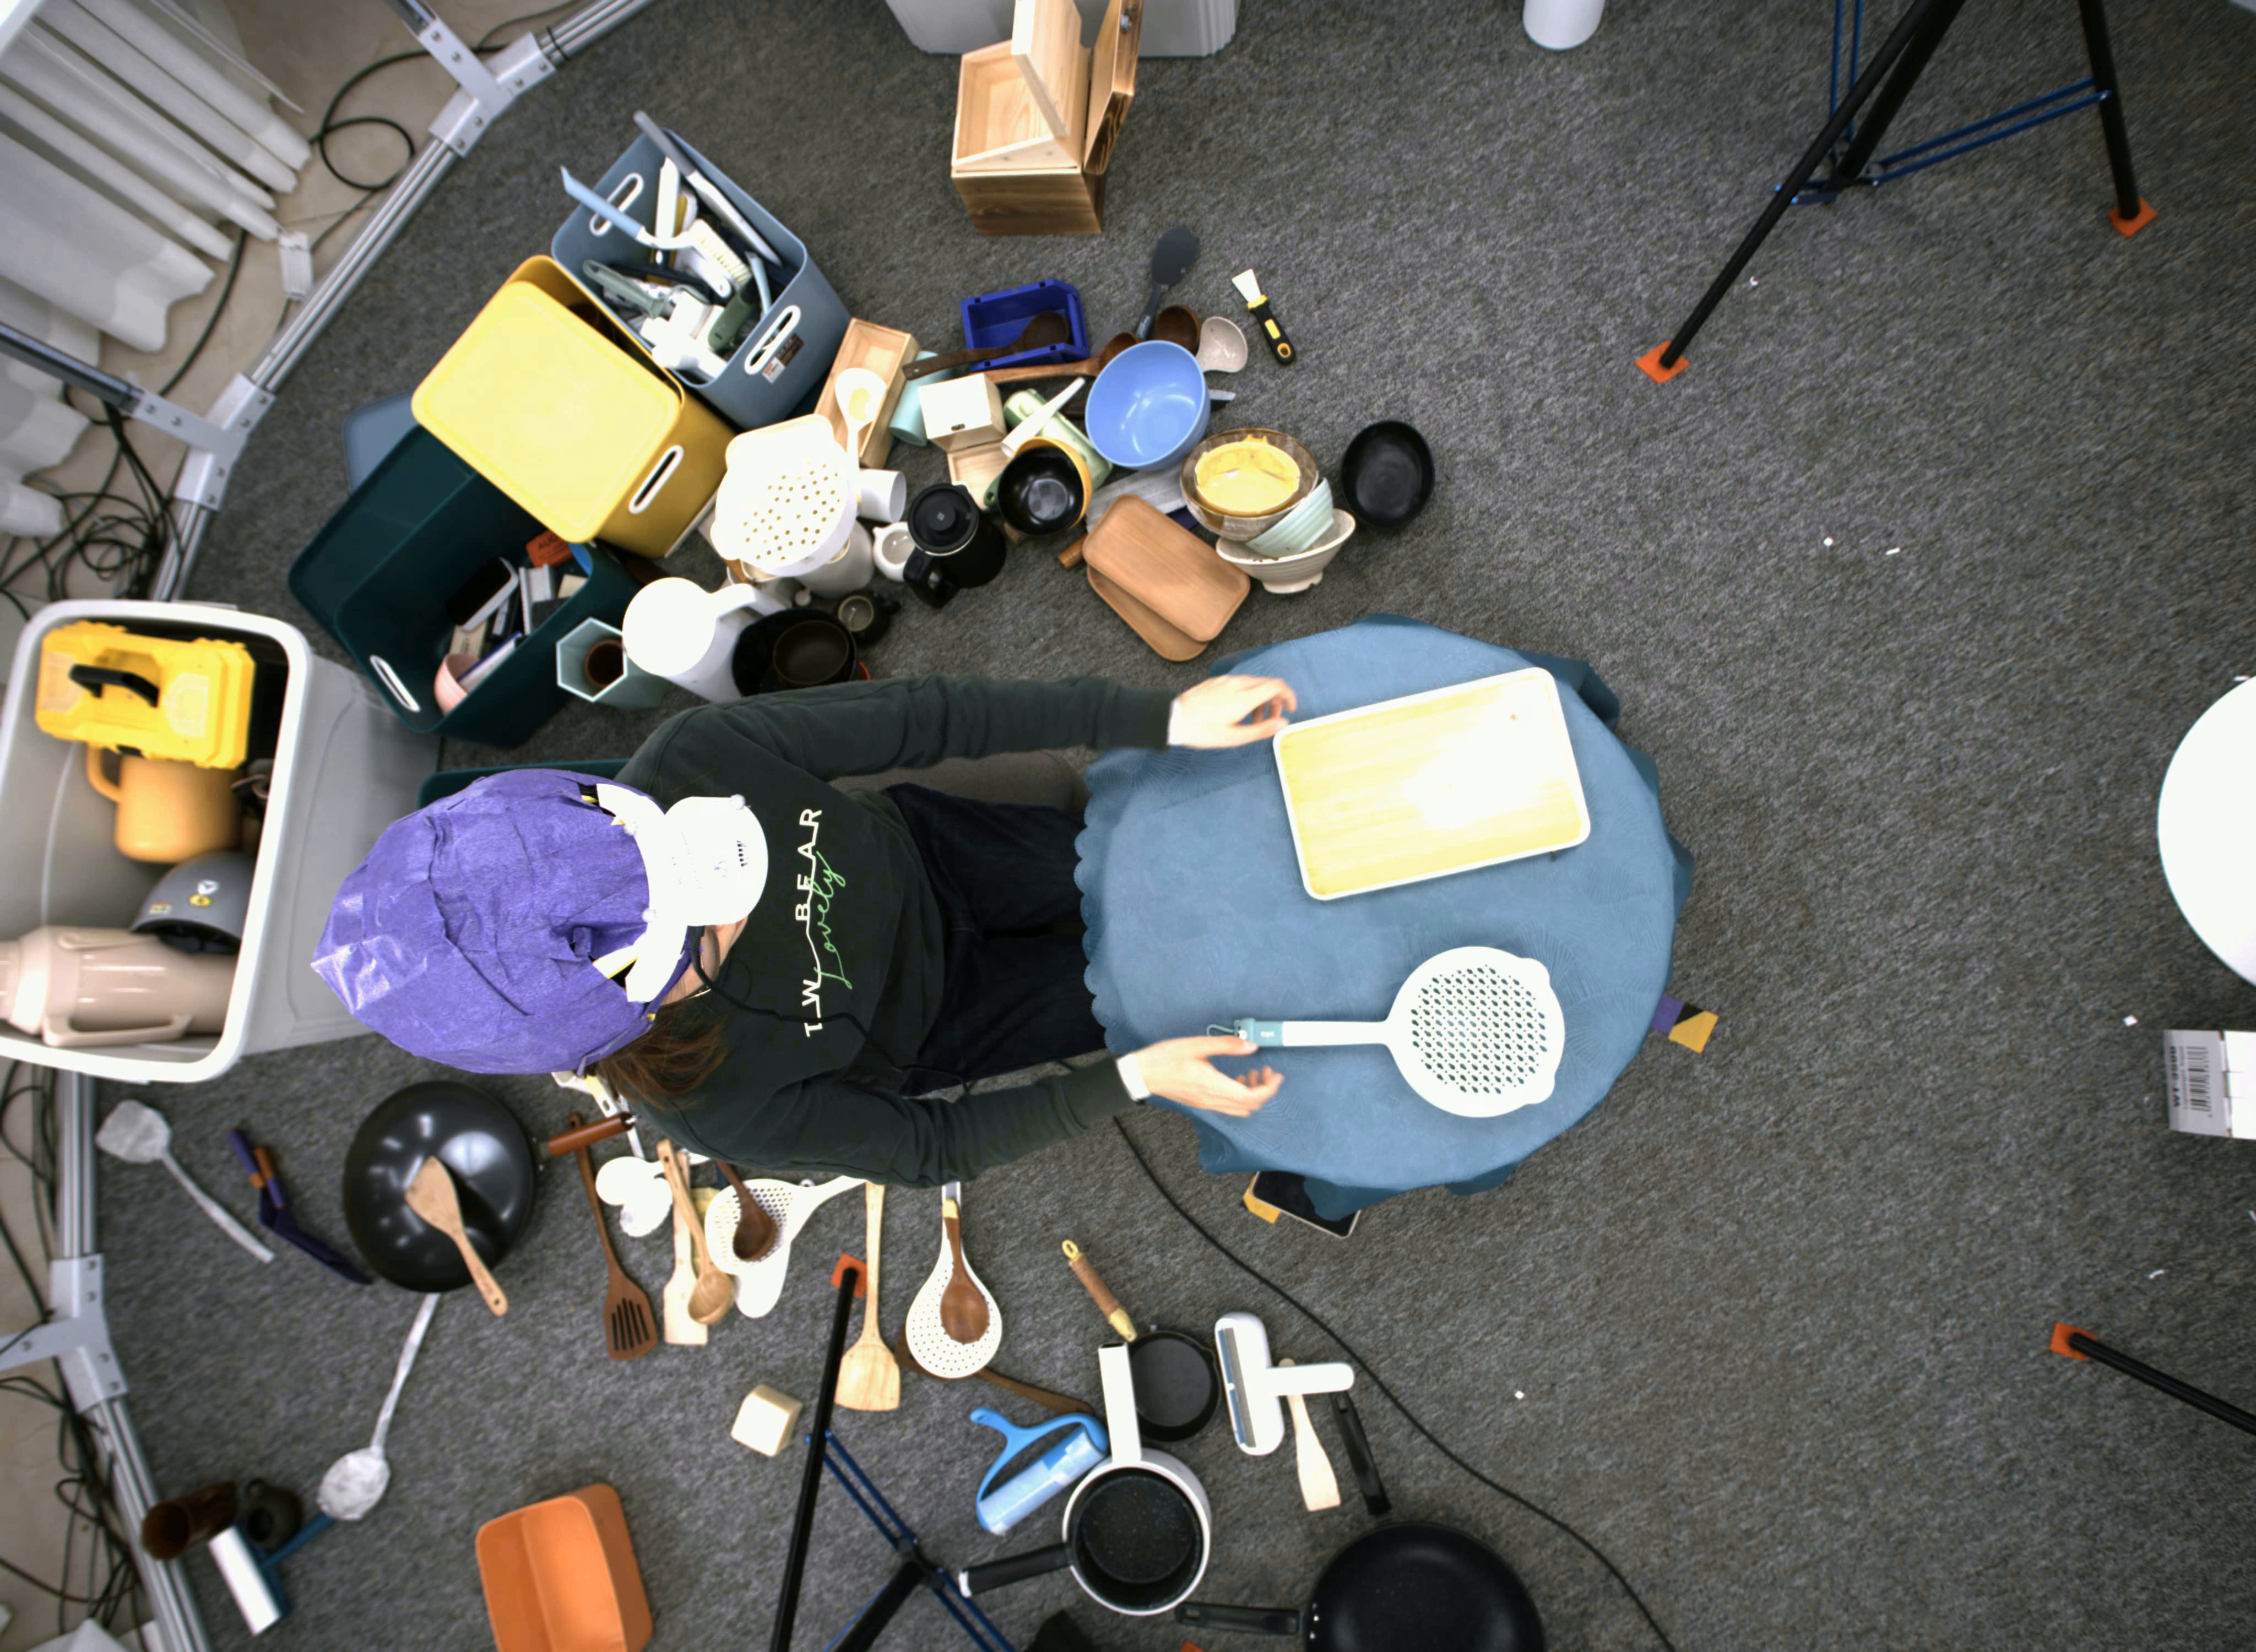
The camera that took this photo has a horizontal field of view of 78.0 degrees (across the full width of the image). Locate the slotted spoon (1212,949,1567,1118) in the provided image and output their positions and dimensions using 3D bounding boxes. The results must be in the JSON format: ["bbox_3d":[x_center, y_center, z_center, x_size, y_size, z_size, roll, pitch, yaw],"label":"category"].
[{"bbox_3d":[0.262,0.212,1.423,0.360,0.075,0.168,-2,85,10],"label":"slotted spoon"}]

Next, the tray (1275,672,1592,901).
[{"bbox_3d":[0.319,-0.042,1.451,0.302,0.027,0.190,-13,84,9],"label":"tray"}]
